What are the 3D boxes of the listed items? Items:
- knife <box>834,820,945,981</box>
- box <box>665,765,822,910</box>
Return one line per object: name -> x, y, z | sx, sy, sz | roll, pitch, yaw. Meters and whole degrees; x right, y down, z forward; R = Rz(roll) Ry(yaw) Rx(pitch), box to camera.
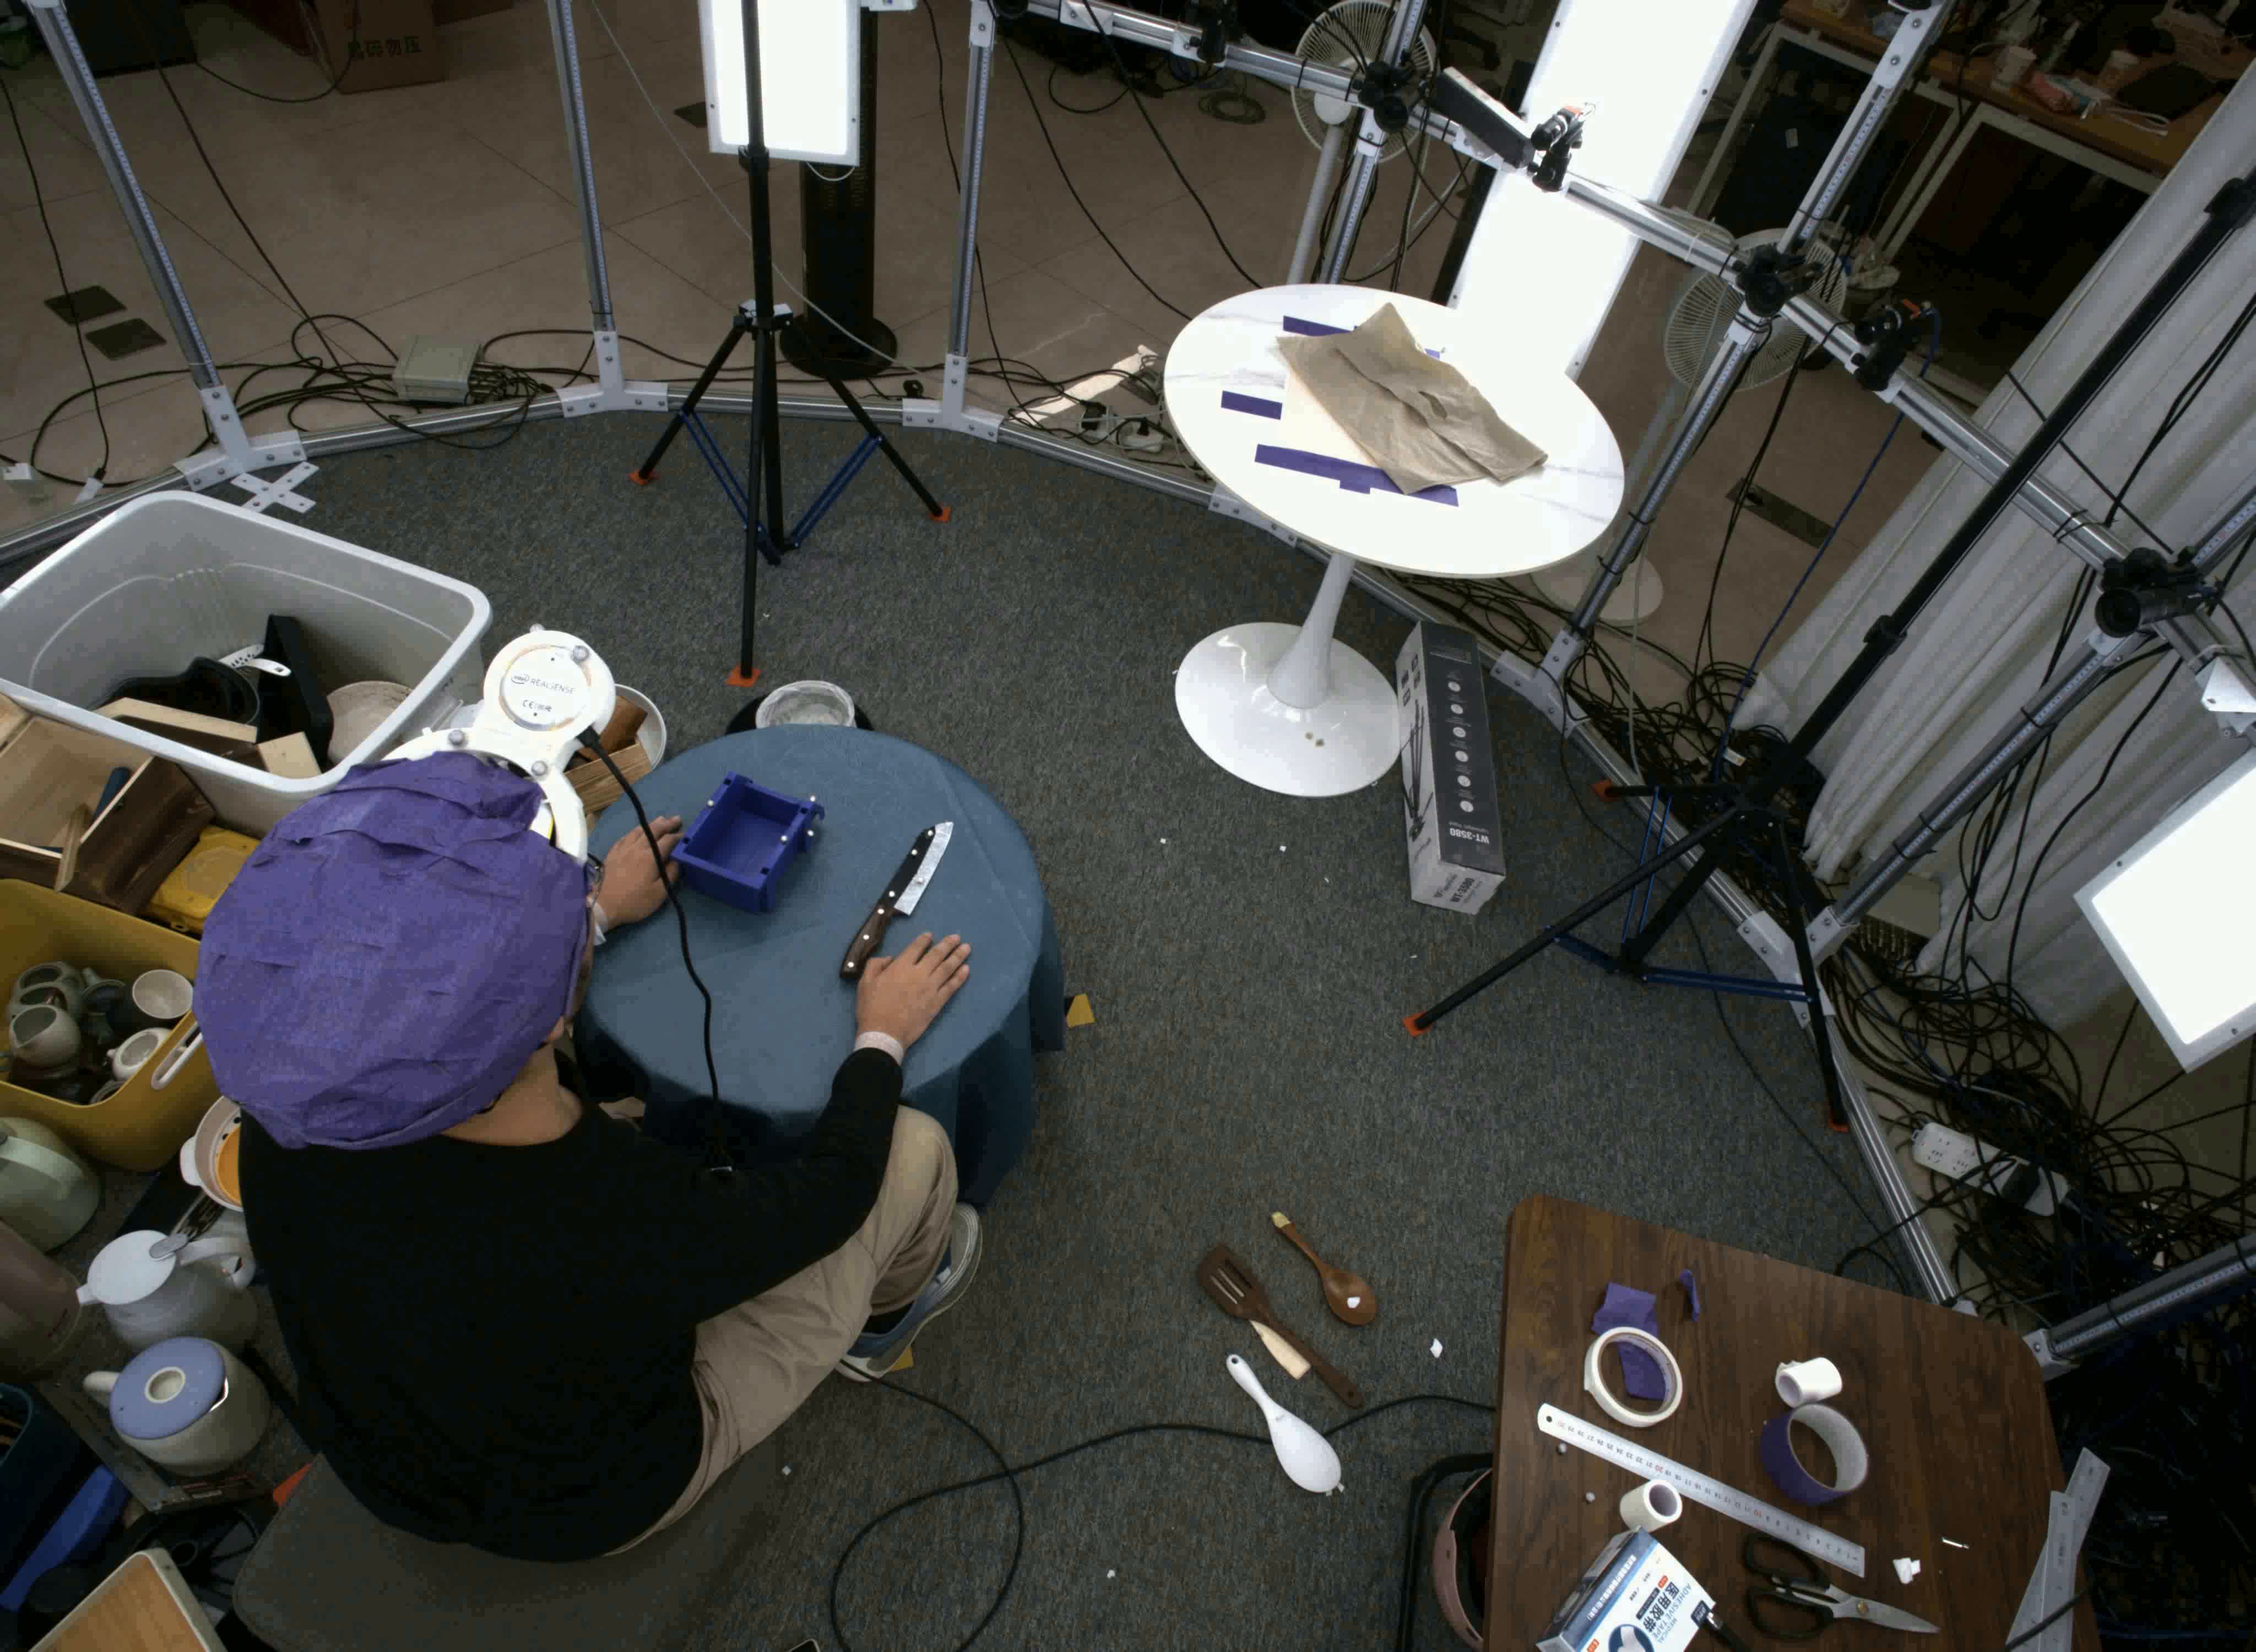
knife -> -0.303, 0.088, 1.676 | 0.050, 0.020, 0.286 | 27, 49, 0
box -> -0.487, 0.007, 1.644 | 0.123, 0.083, 0.178 | 21, 54, 3
